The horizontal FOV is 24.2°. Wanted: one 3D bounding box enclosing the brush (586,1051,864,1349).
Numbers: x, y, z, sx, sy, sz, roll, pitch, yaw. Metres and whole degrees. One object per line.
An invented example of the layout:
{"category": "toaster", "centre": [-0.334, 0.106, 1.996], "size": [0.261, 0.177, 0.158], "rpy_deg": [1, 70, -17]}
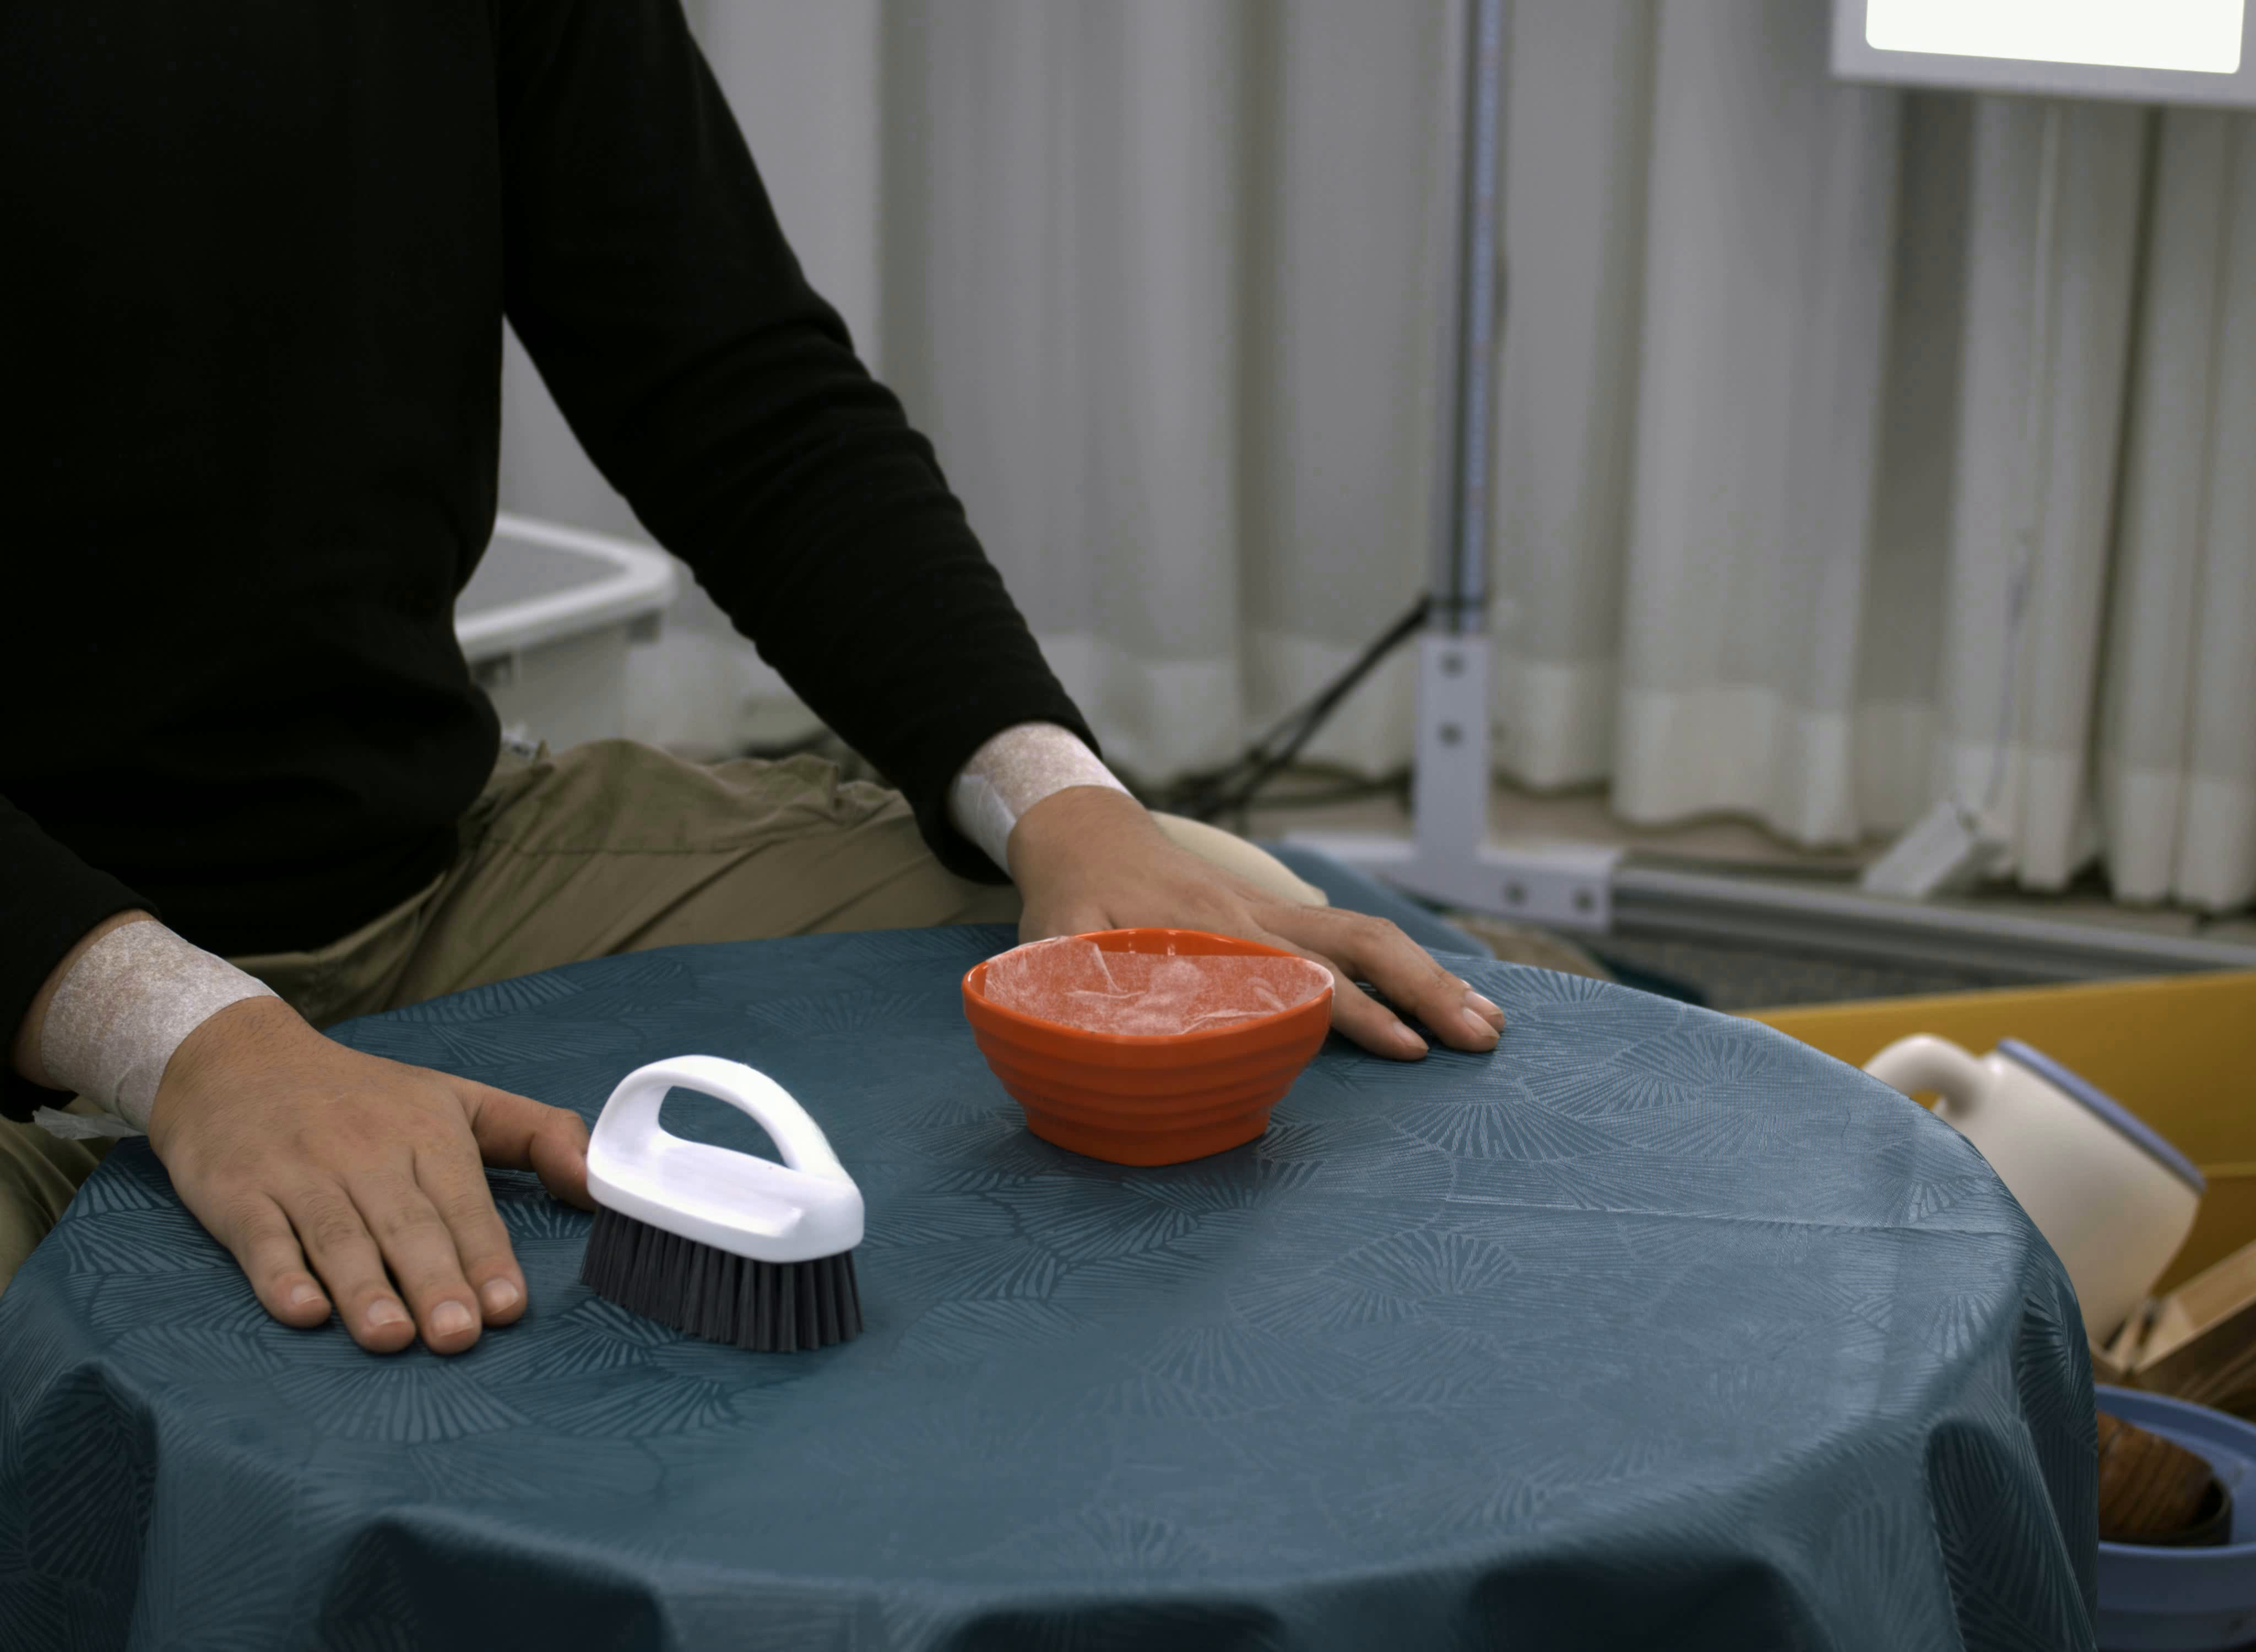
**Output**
{"category": "brush", "centre": [-0.117, 0.102, 1.514], "size": [0.050, 0.073, 0.098], "rpy_deg": [-14, 21, -41]}

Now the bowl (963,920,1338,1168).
{"category": "bowl", "centre": [0.007, 0.071, 1.671], "size": [0.118, 0.052, 0.118], "rpy_deg": [1, 18, 0]}
